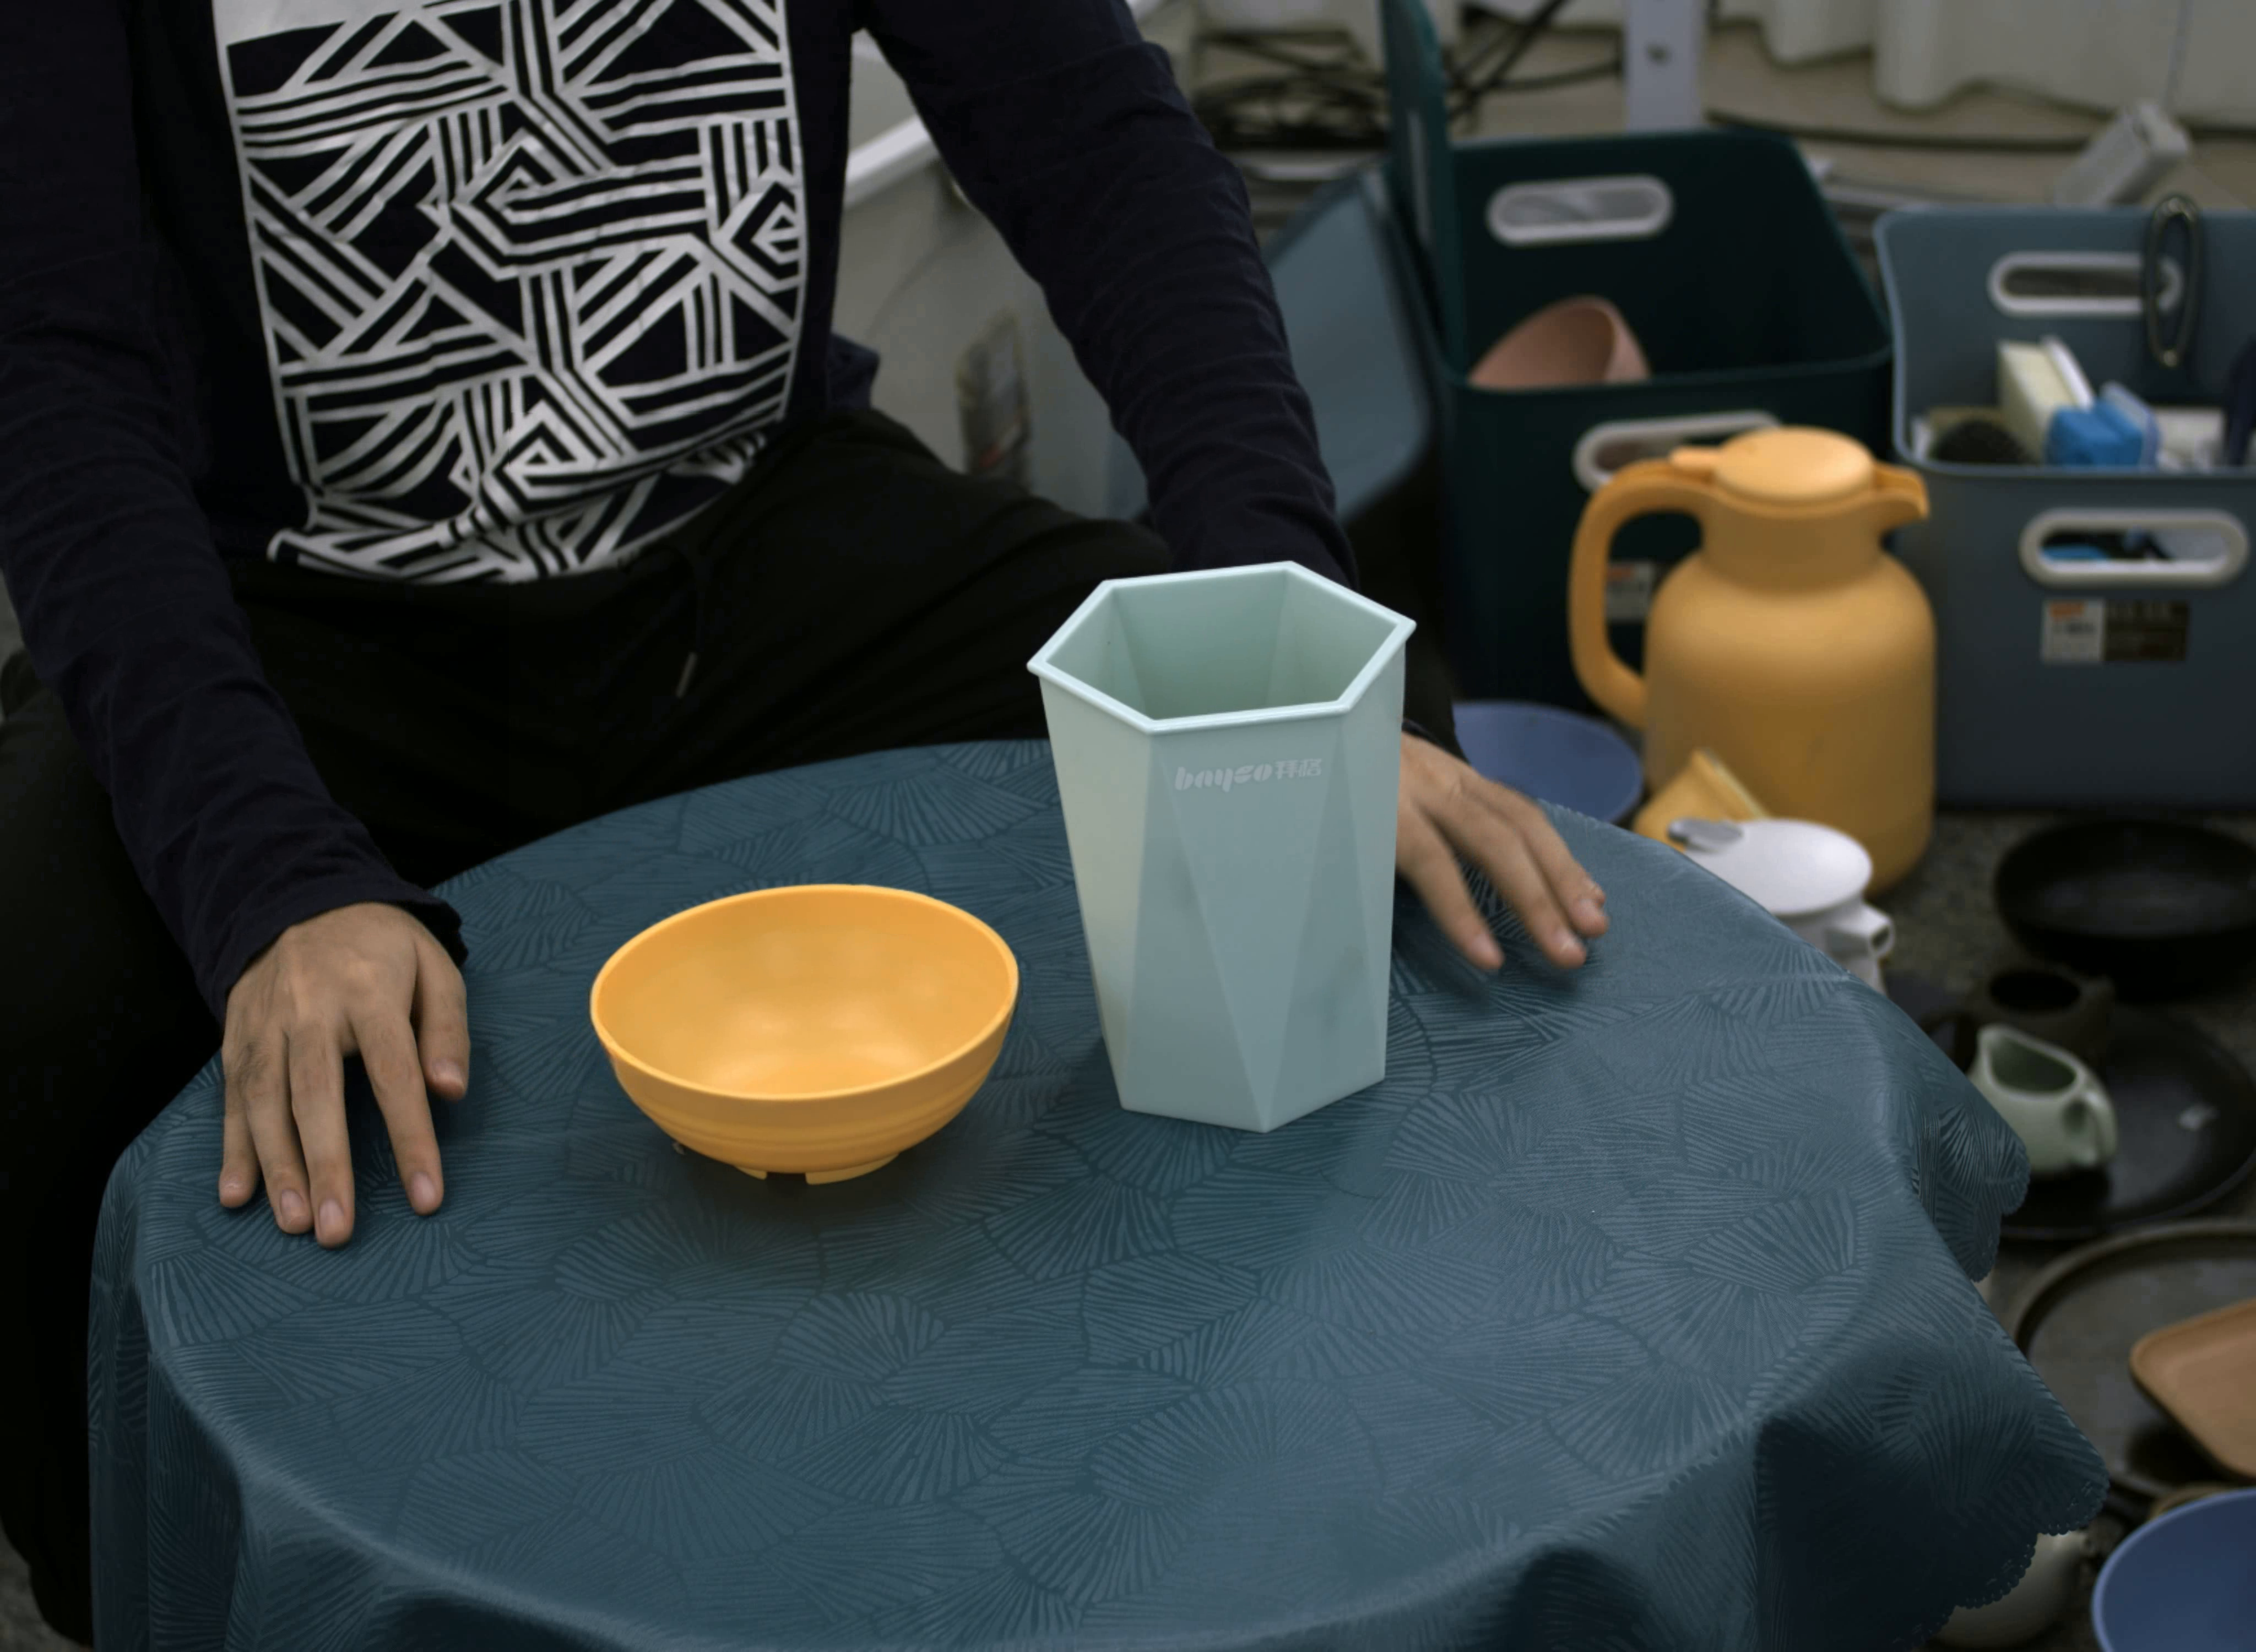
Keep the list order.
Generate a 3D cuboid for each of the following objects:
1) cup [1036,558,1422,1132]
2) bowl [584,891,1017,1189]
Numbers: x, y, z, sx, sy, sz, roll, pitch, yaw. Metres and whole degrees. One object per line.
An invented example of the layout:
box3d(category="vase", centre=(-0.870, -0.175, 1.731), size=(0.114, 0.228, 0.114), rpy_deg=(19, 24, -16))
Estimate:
box3d(category="cup", centre=(0.037, 0.009, 1.899), size=(0.131, 0.161, 0.116), rpy_deg=(-6, 25, -8))
box3d(category="bowl", centre=(-0.108, 0.081, 1.888), size=(0.144, 0.059, 0.147), rpy_deg=(-2, 26, 1))
